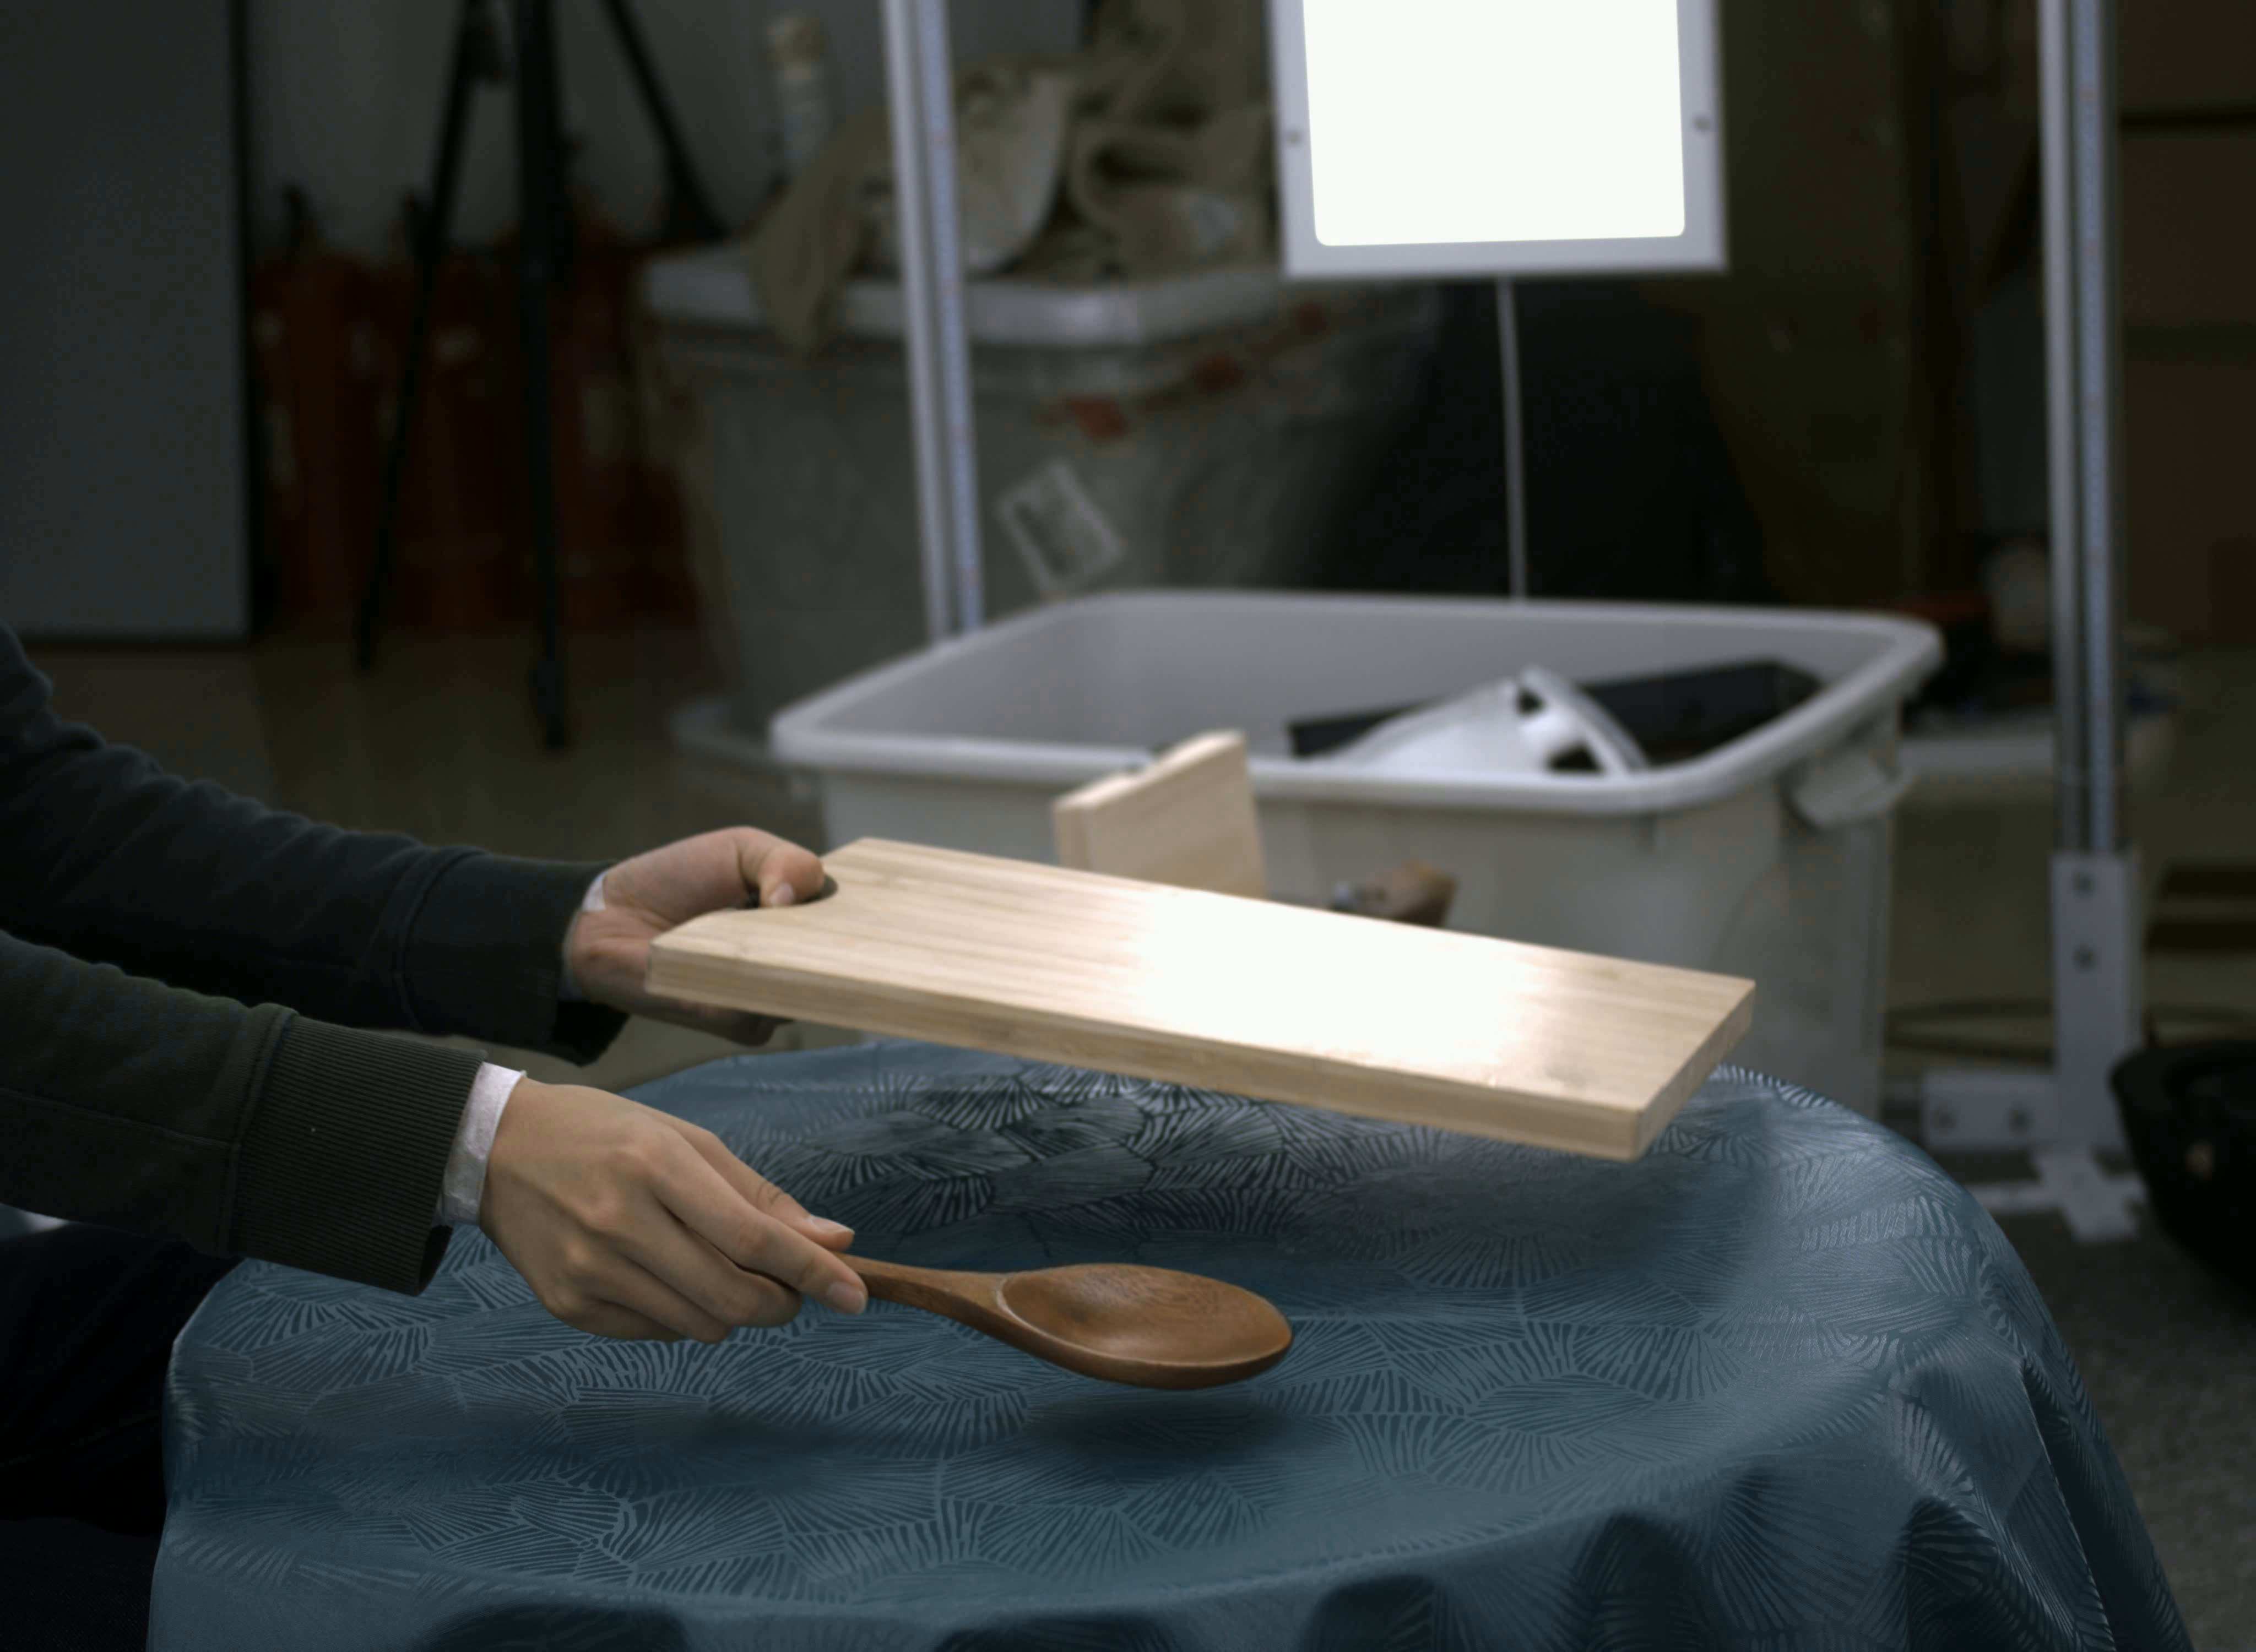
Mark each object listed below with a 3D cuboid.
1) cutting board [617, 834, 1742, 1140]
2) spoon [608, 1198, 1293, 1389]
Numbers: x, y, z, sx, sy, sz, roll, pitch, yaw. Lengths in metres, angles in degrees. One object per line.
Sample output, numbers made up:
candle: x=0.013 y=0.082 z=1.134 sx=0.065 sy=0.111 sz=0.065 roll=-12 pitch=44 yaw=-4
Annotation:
cutting board: x=0.025 y=0.053 z=1.904 sx=0.352 sy=0.024 sz=0.247 roll=9 pitch=10 yaw=15
spoon: x=-0.055 y=0.141 z=1.678 sx=0.217 sy=0.017 sz=0.074 roll=10 pitch=22 yaw=13
